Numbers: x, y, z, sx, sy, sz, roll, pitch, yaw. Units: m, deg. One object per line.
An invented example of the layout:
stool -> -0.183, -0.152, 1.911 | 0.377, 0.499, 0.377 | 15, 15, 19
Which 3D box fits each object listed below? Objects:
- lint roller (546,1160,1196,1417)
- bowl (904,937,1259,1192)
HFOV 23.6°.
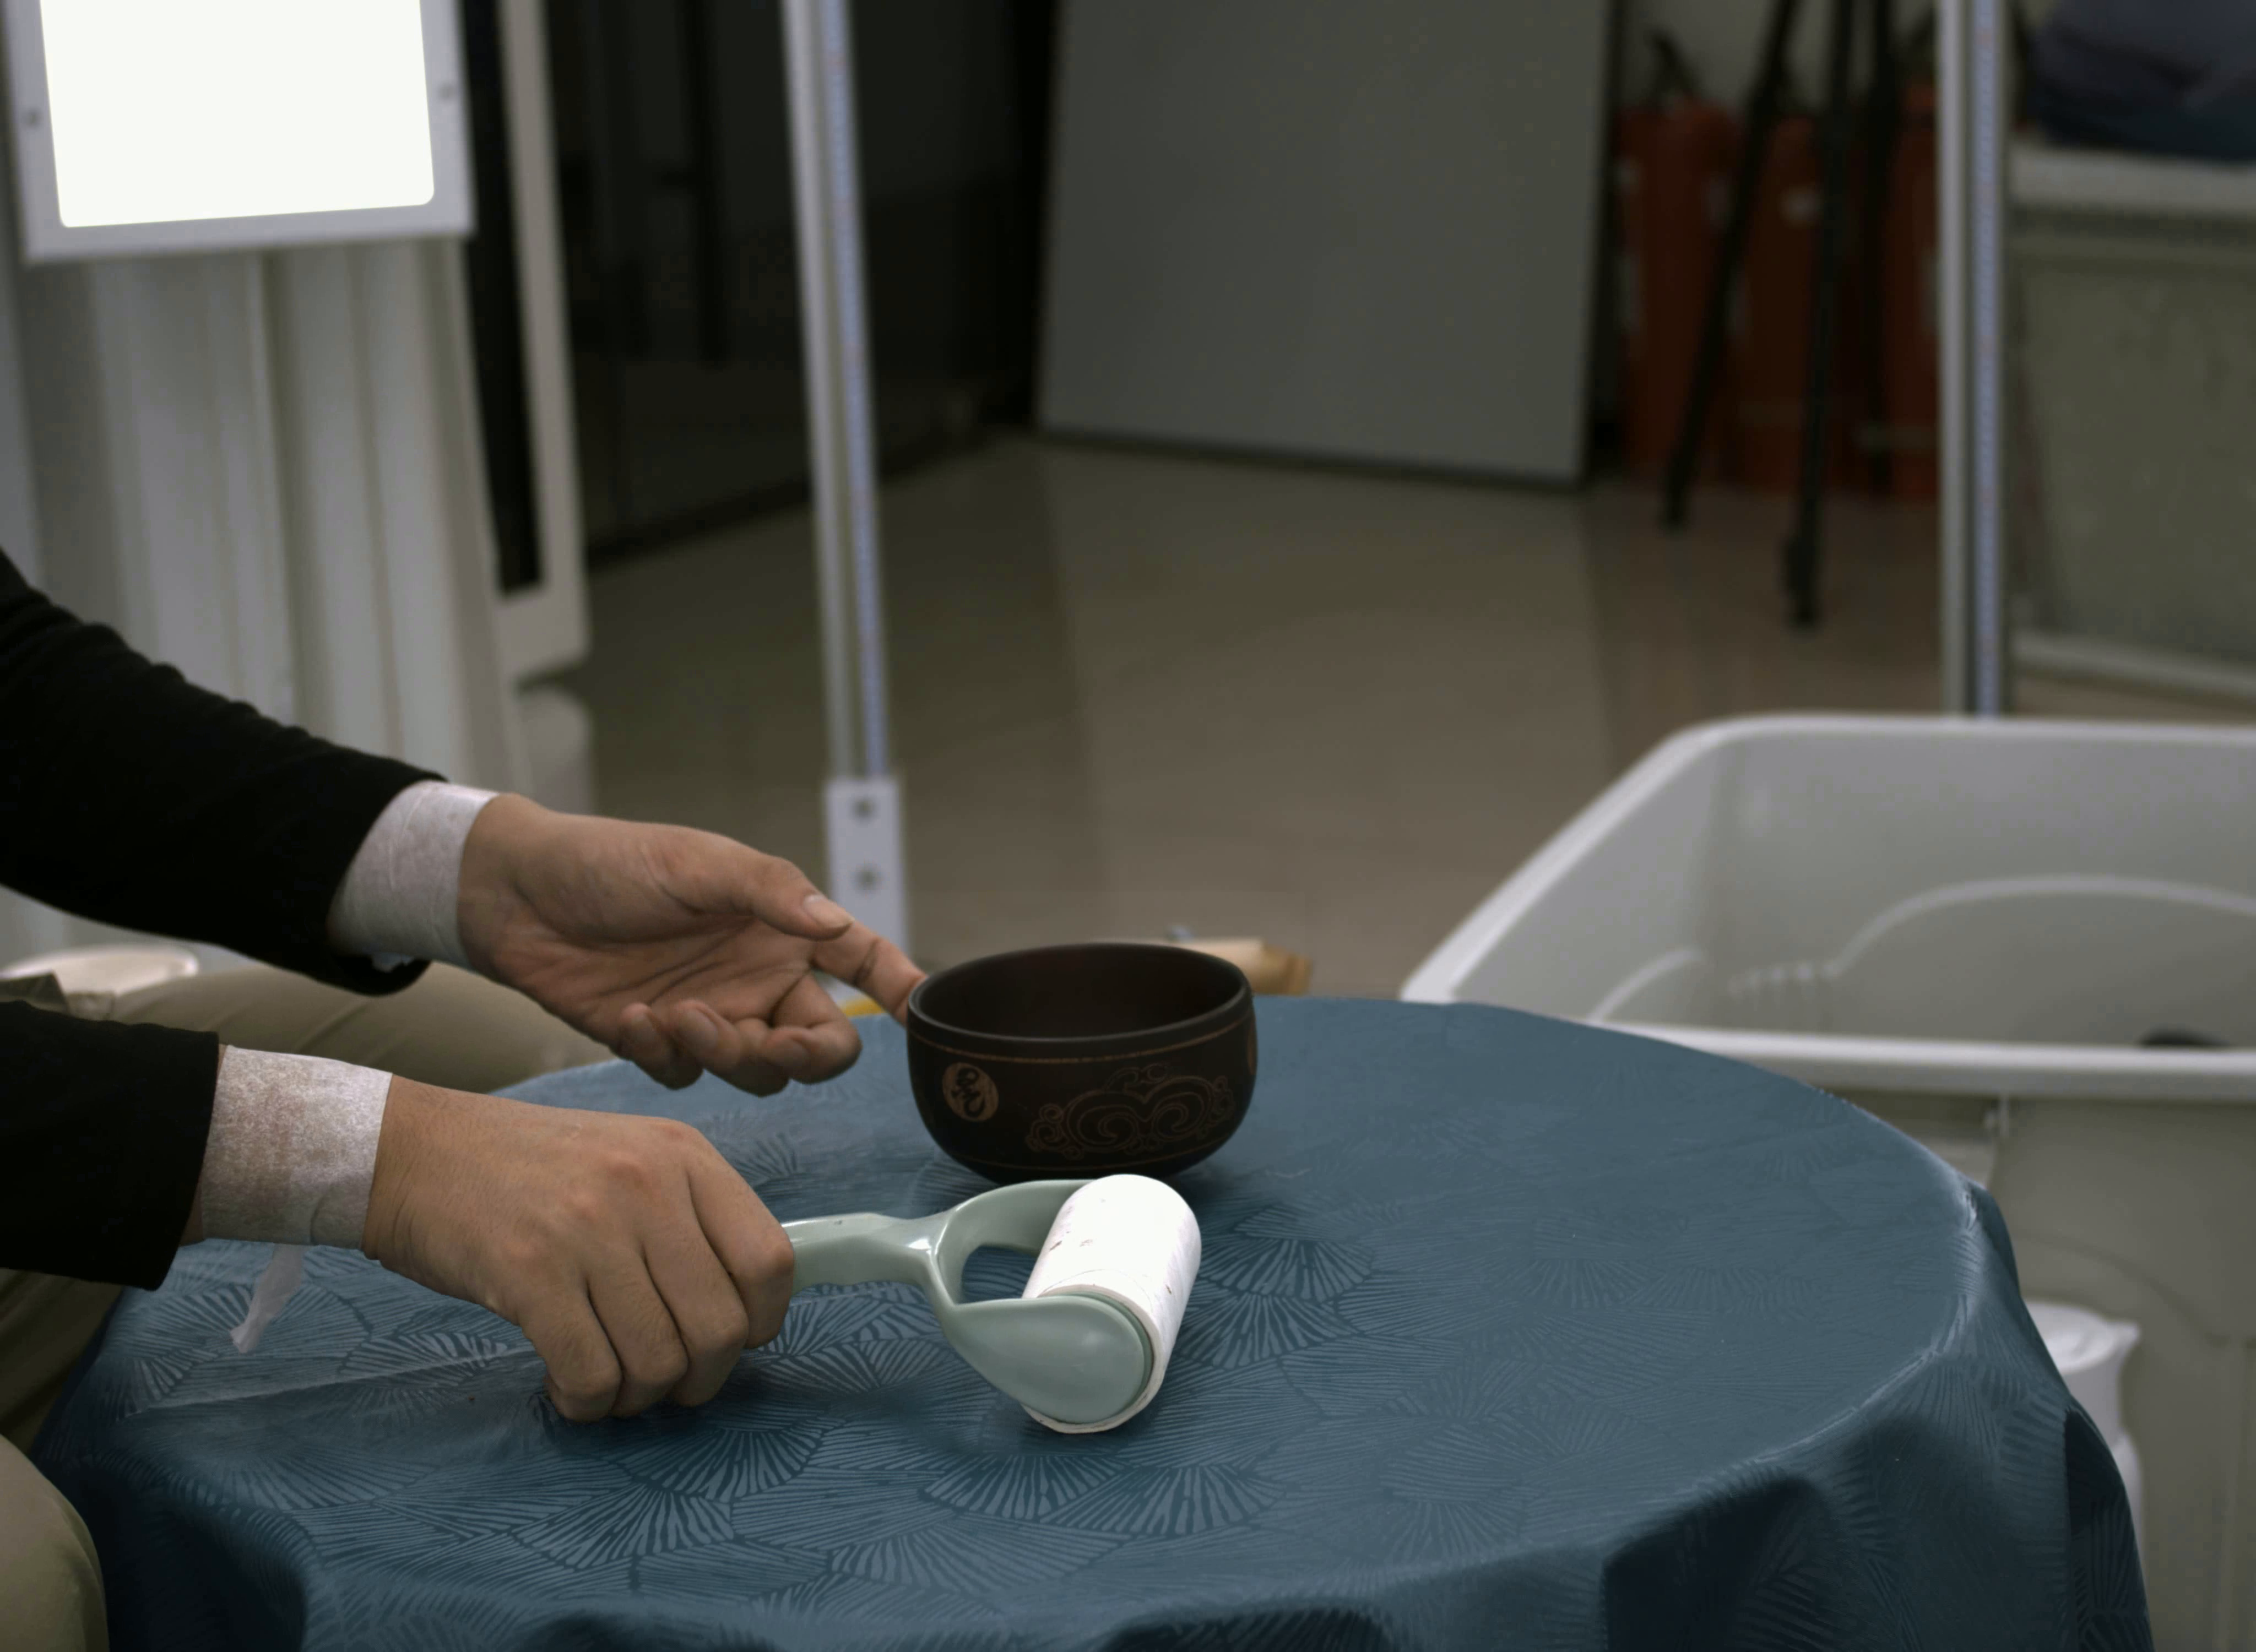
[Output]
lint roller -> -0.078, 0.139, 1.613 | 0.196, 0.049, 0.116 | -2, 15, 9
bowl -> -0.014, 0.086, 1.768 | 0.116, 0.070, 0.118 | -5, 15, 0
